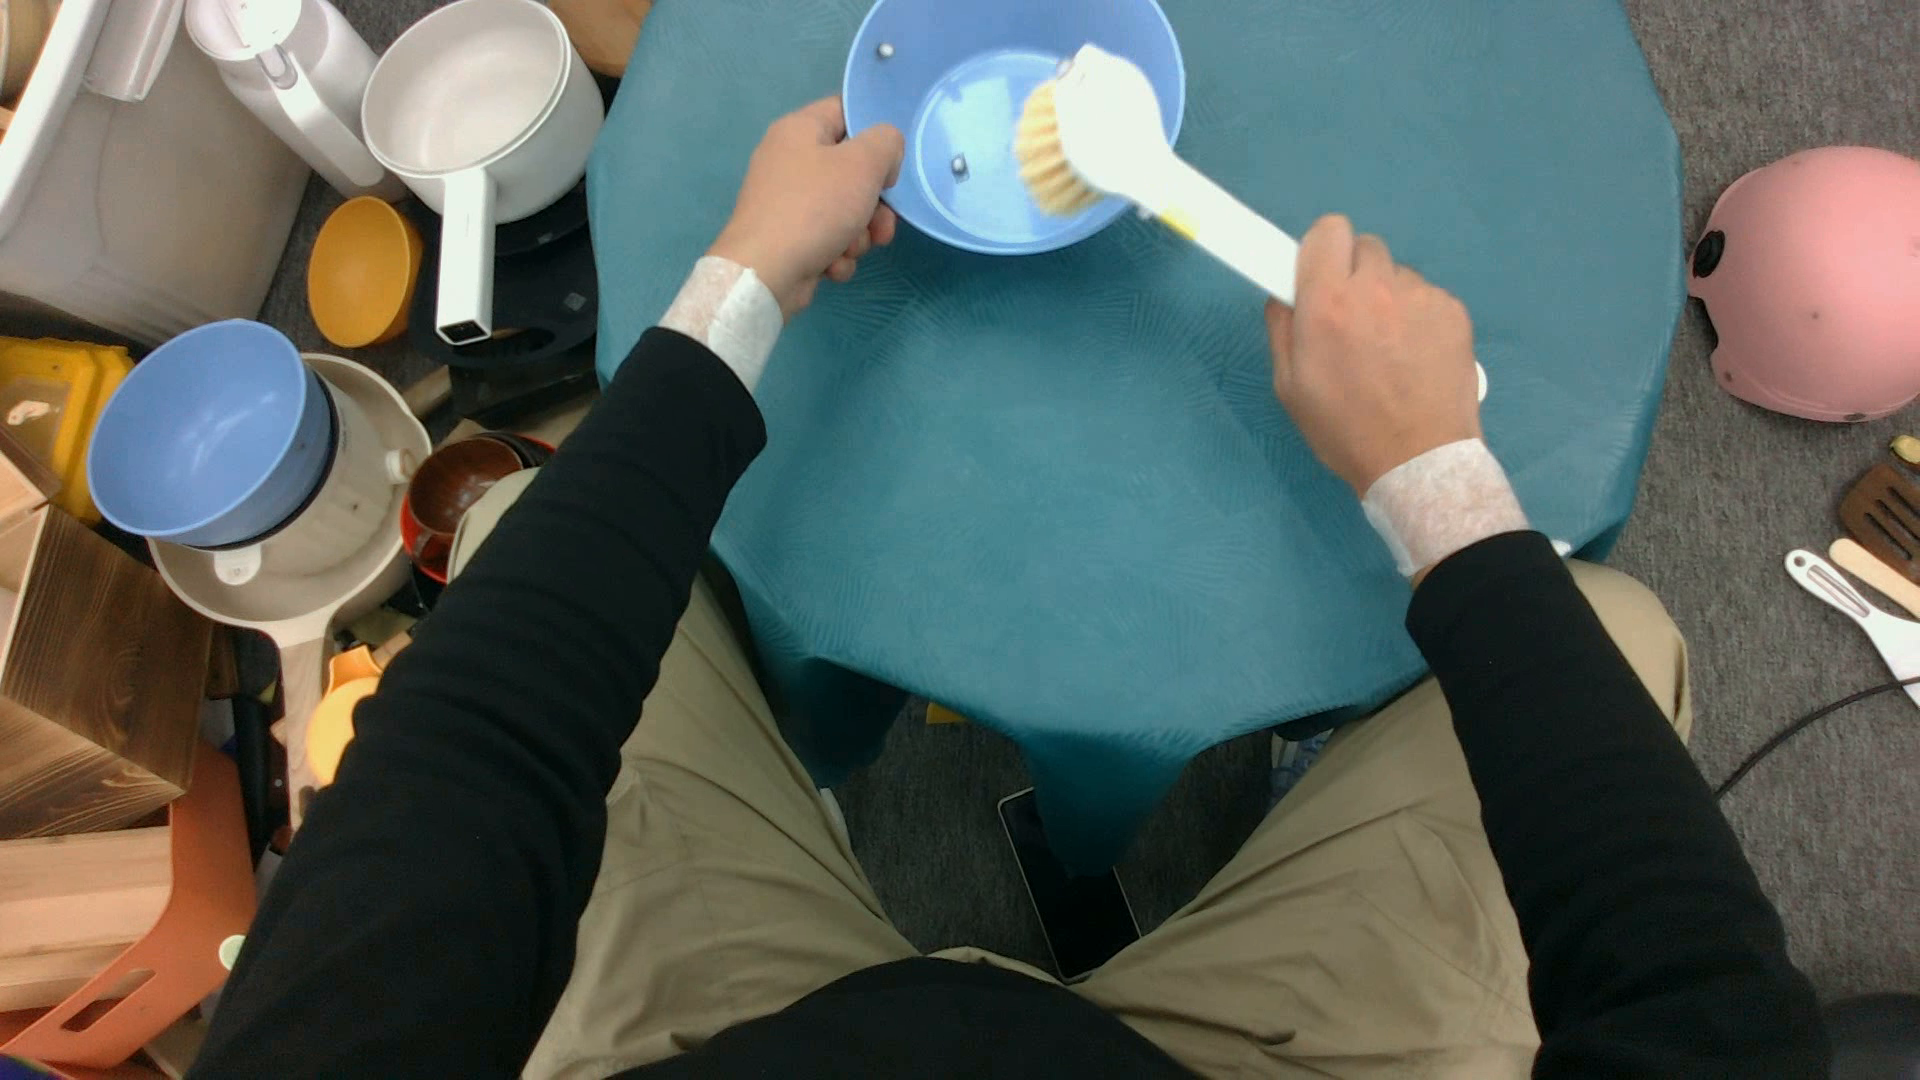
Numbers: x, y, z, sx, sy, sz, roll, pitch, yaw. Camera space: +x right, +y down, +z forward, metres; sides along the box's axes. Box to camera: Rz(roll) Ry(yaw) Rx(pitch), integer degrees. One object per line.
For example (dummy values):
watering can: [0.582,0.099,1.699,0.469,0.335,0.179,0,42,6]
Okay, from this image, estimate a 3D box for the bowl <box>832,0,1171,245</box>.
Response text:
bowl: [0.022,-0.228,0.739,0.176,0.070,0.176,-1,78,3]

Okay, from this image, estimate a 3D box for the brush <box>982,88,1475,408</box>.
brush: [0.130,-0.132,0.674,0.266,0.056,0.068,29,77,-10]
